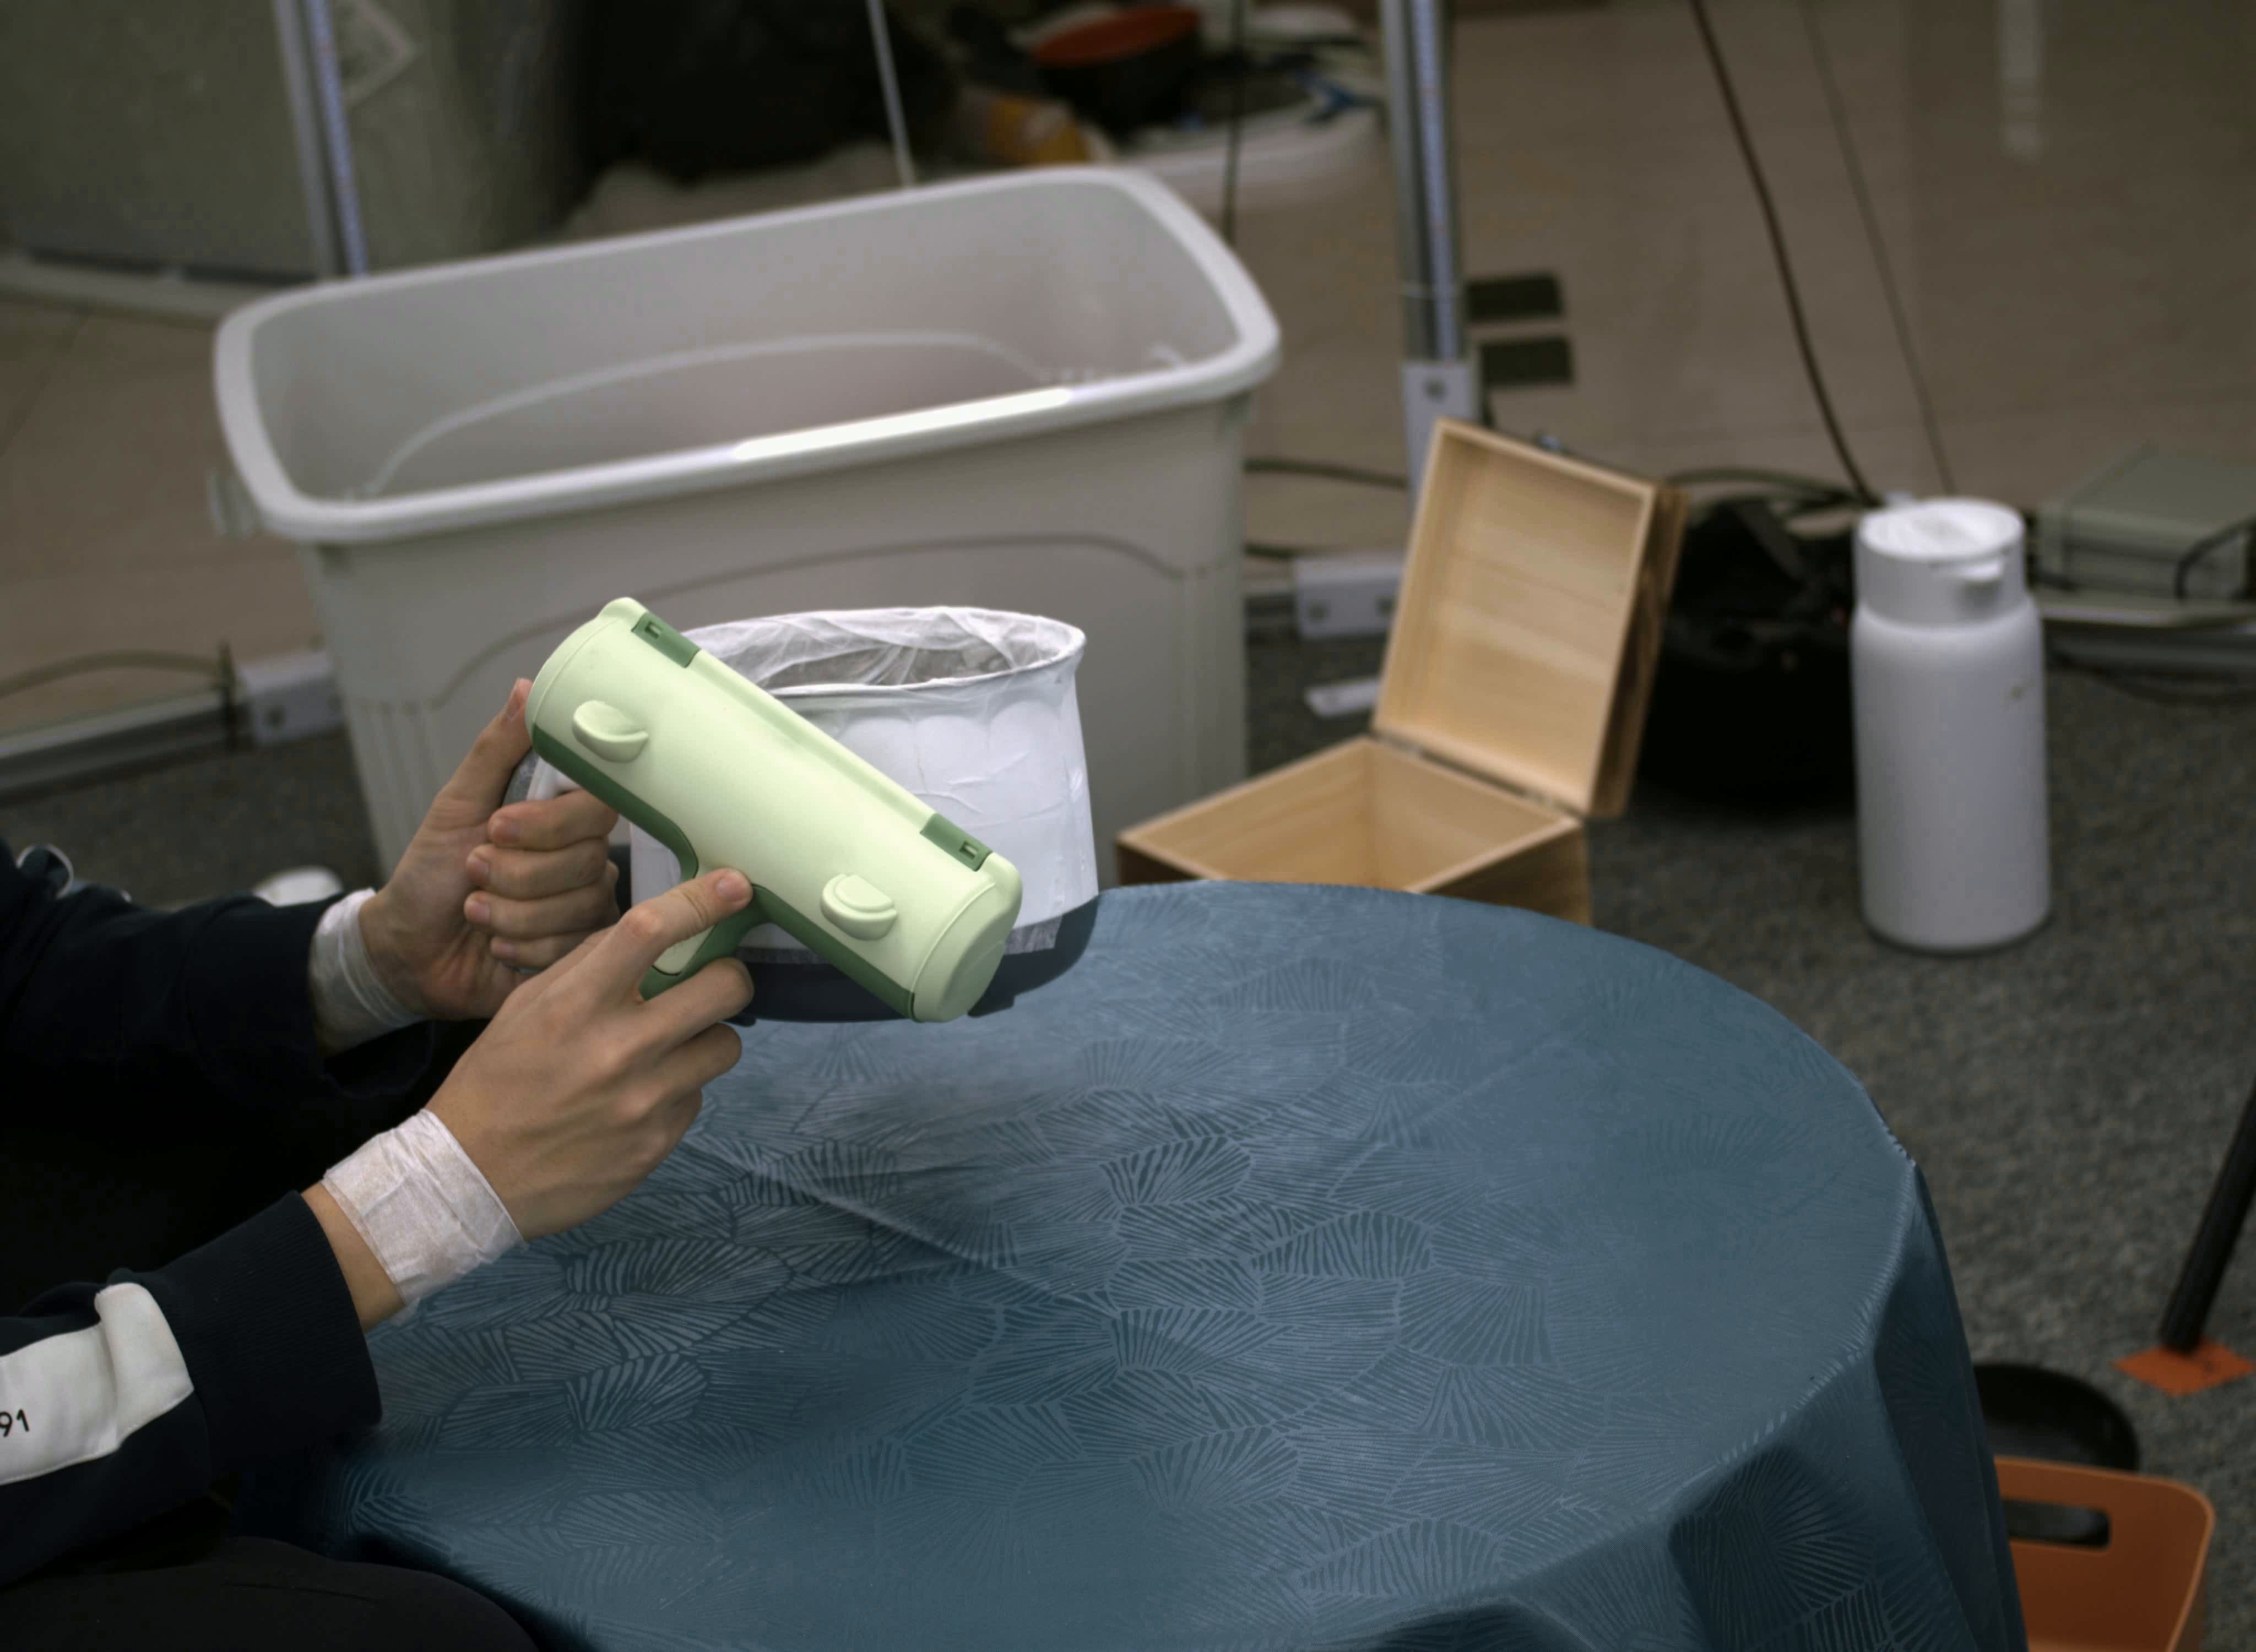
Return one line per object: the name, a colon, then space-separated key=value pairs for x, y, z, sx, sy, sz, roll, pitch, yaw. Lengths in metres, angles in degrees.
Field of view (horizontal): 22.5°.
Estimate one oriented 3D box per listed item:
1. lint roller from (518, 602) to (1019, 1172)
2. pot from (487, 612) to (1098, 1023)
lint roller: x=-0.164 y=0.042 z=2.020 sx=0.197 sy=0.183 sz=0.083 roll=35 pitch=-2 yaw=17
pot: x=-0.128 y=-0.003 z=2.141 sx=0.233 sy=0.138 sz=0.177 roll=-2 pitch=12 yaw=0
